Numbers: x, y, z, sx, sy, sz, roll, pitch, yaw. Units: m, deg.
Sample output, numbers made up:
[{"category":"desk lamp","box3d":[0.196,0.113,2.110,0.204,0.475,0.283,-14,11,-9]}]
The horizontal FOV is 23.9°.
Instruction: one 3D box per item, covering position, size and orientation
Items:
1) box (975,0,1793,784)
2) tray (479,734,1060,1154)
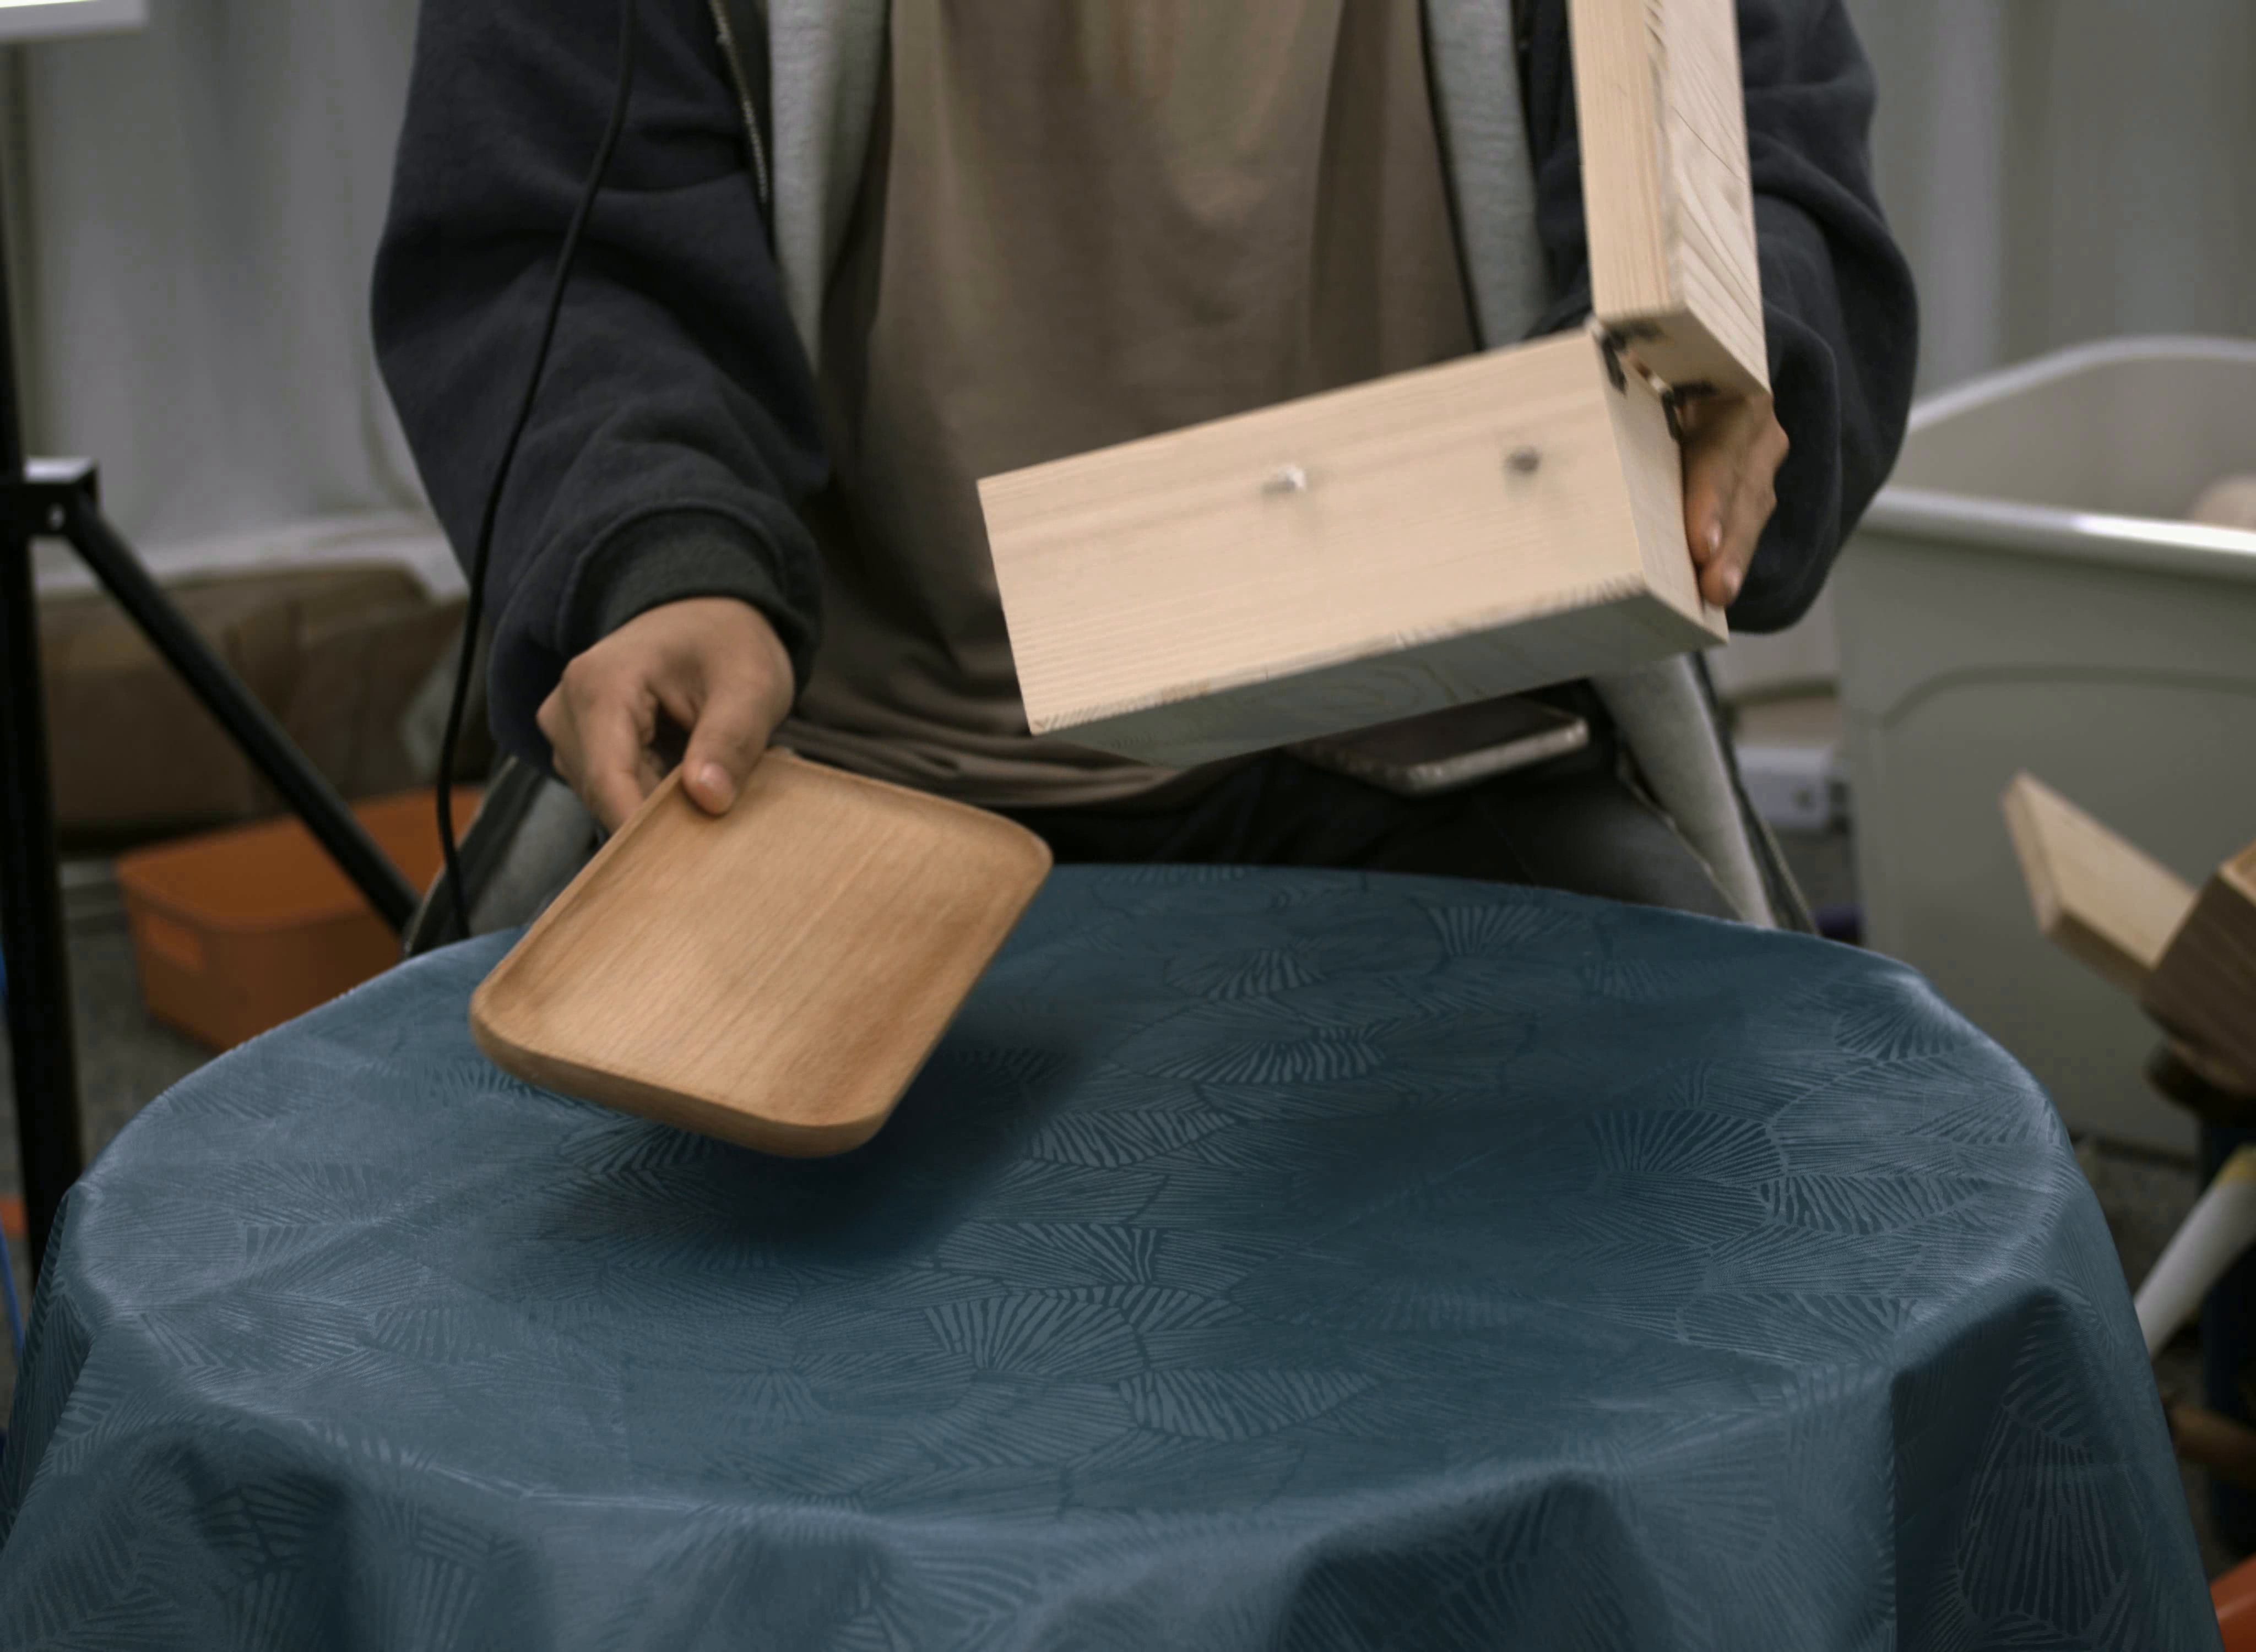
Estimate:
[{"category":"box","box3d":[0.086,-0.170,1.569,0.266,0.255,0.179,-13,-10,13]},{"category":"tray","box3d":[-0.106,0.033,1.631,0.131,0.023,0.249,18,23,8]}]
